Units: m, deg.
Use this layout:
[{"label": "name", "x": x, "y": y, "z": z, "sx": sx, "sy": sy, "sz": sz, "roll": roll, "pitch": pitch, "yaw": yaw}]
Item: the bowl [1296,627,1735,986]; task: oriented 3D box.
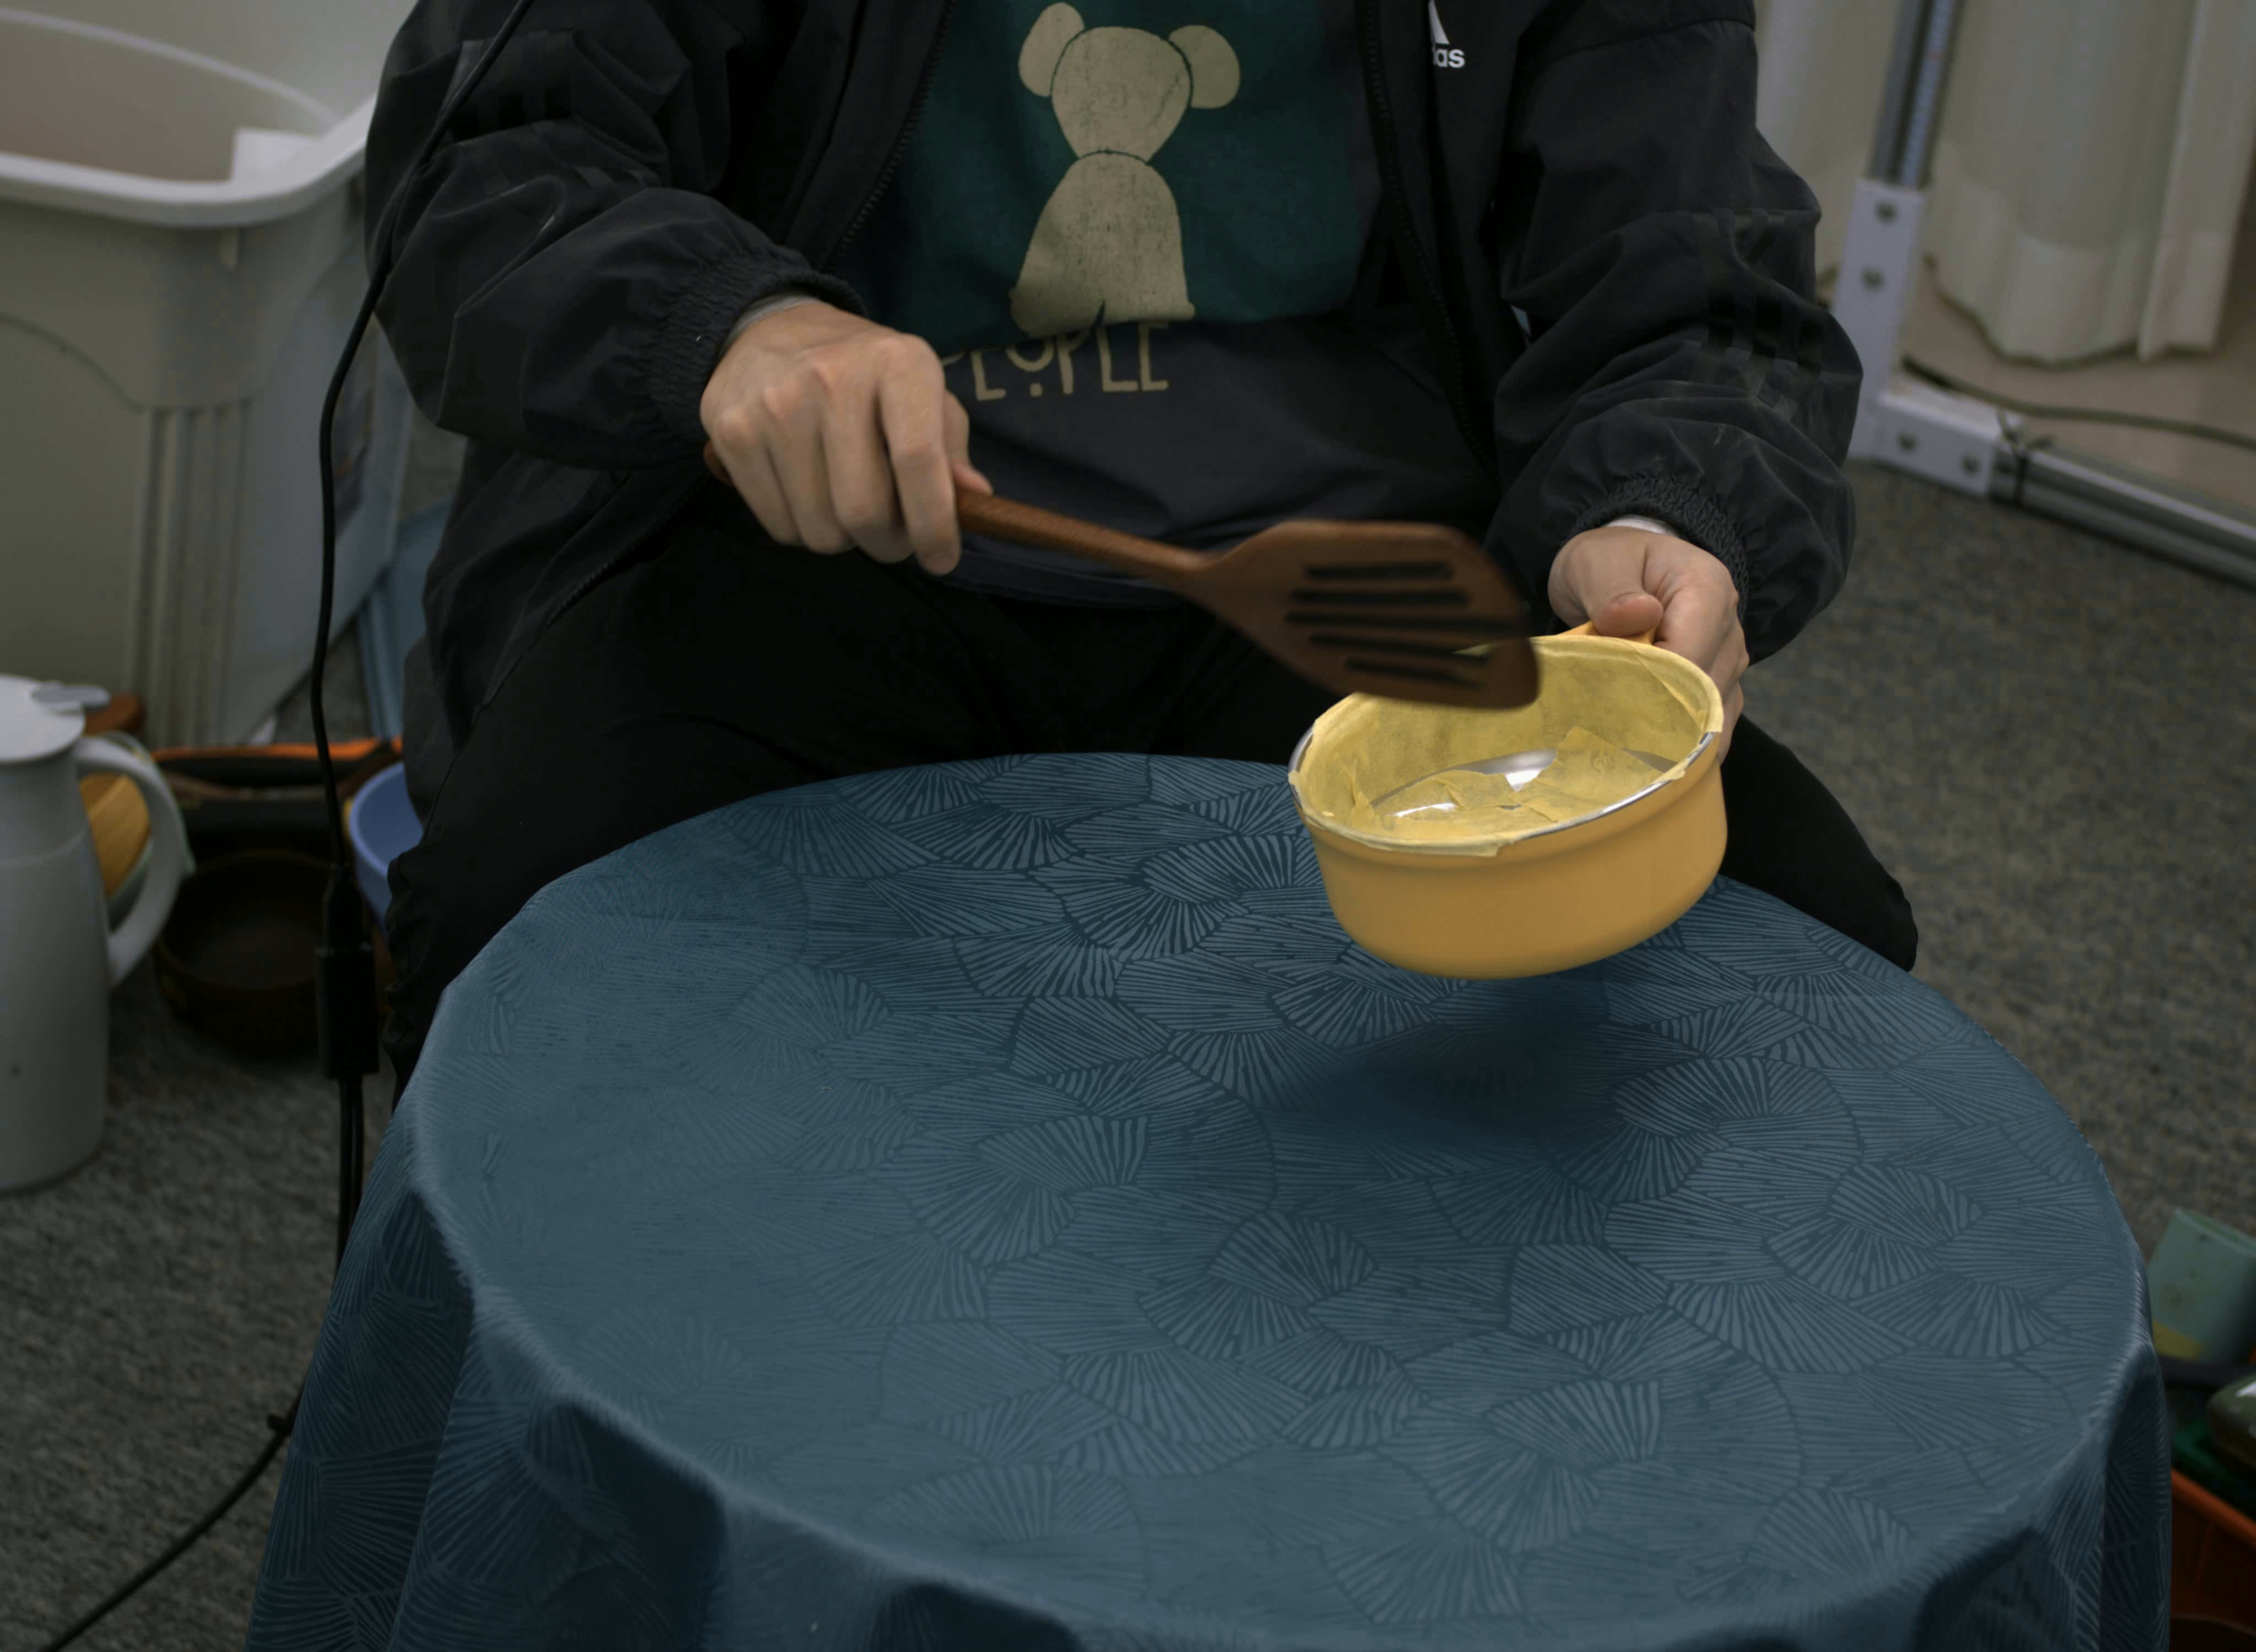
[{"label": "bowl", "x": 0.146, "y": -0.008, "z": 1.873, "sx": 0.153, "sy": 0.074, "sz": 0.179, "roll": 3, "pitch": 31, "yaw": 27}]

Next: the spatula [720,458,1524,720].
[{"label": "spatula", "x": -0.017, "y": -0.094, "z": 1.898, "sx": 0.389, "sy": 0.085, "sz": 0.024, "roll": 15, "pitch": 54, "yaw": 44}]
